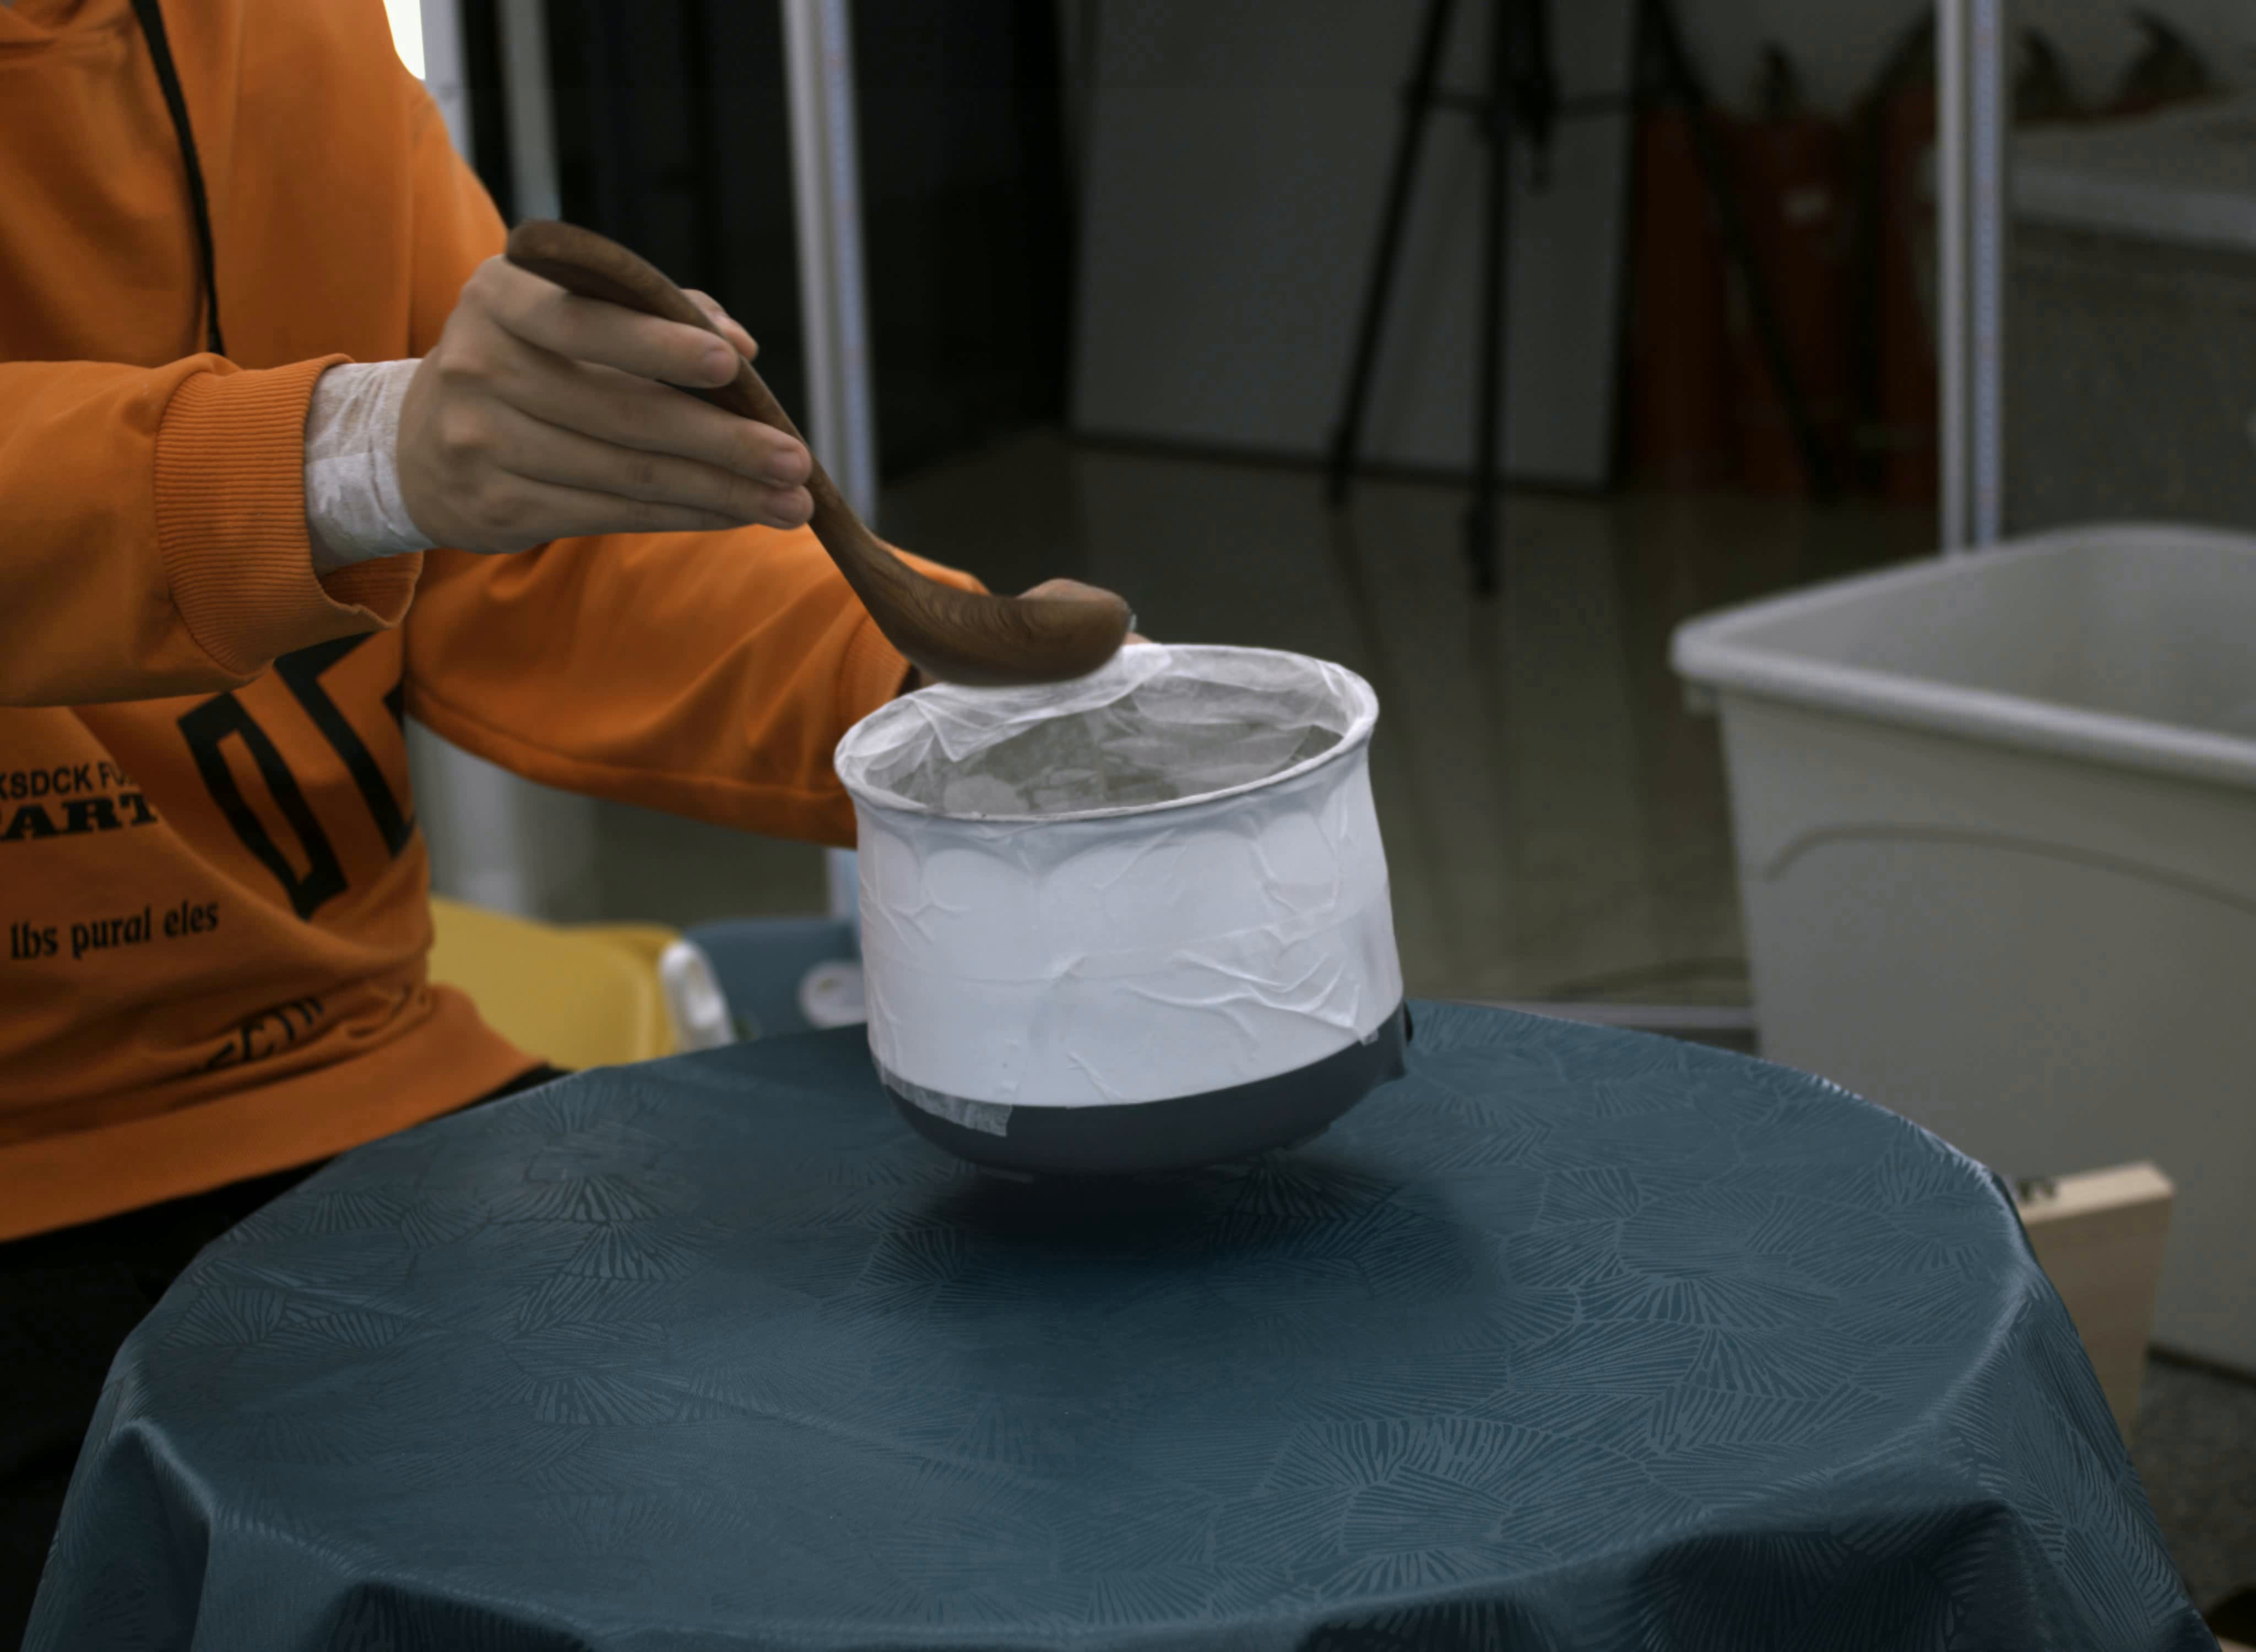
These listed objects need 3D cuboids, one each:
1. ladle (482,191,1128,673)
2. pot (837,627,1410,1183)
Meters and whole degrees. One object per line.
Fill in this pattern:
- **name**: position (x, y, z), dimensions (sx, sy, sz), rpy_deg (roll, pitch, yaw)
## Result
- **ladle**: position (-0.095, -0.124, 1.619), dimensions (0.077, 0.257, 0.065), rpy_deg (-10, 48, 42)
- **pot**: position (-0.003, 0.019, 1.765), dimensions (0.176, 0.138, 0.235), rpy_deg (-7, 18, -4)
